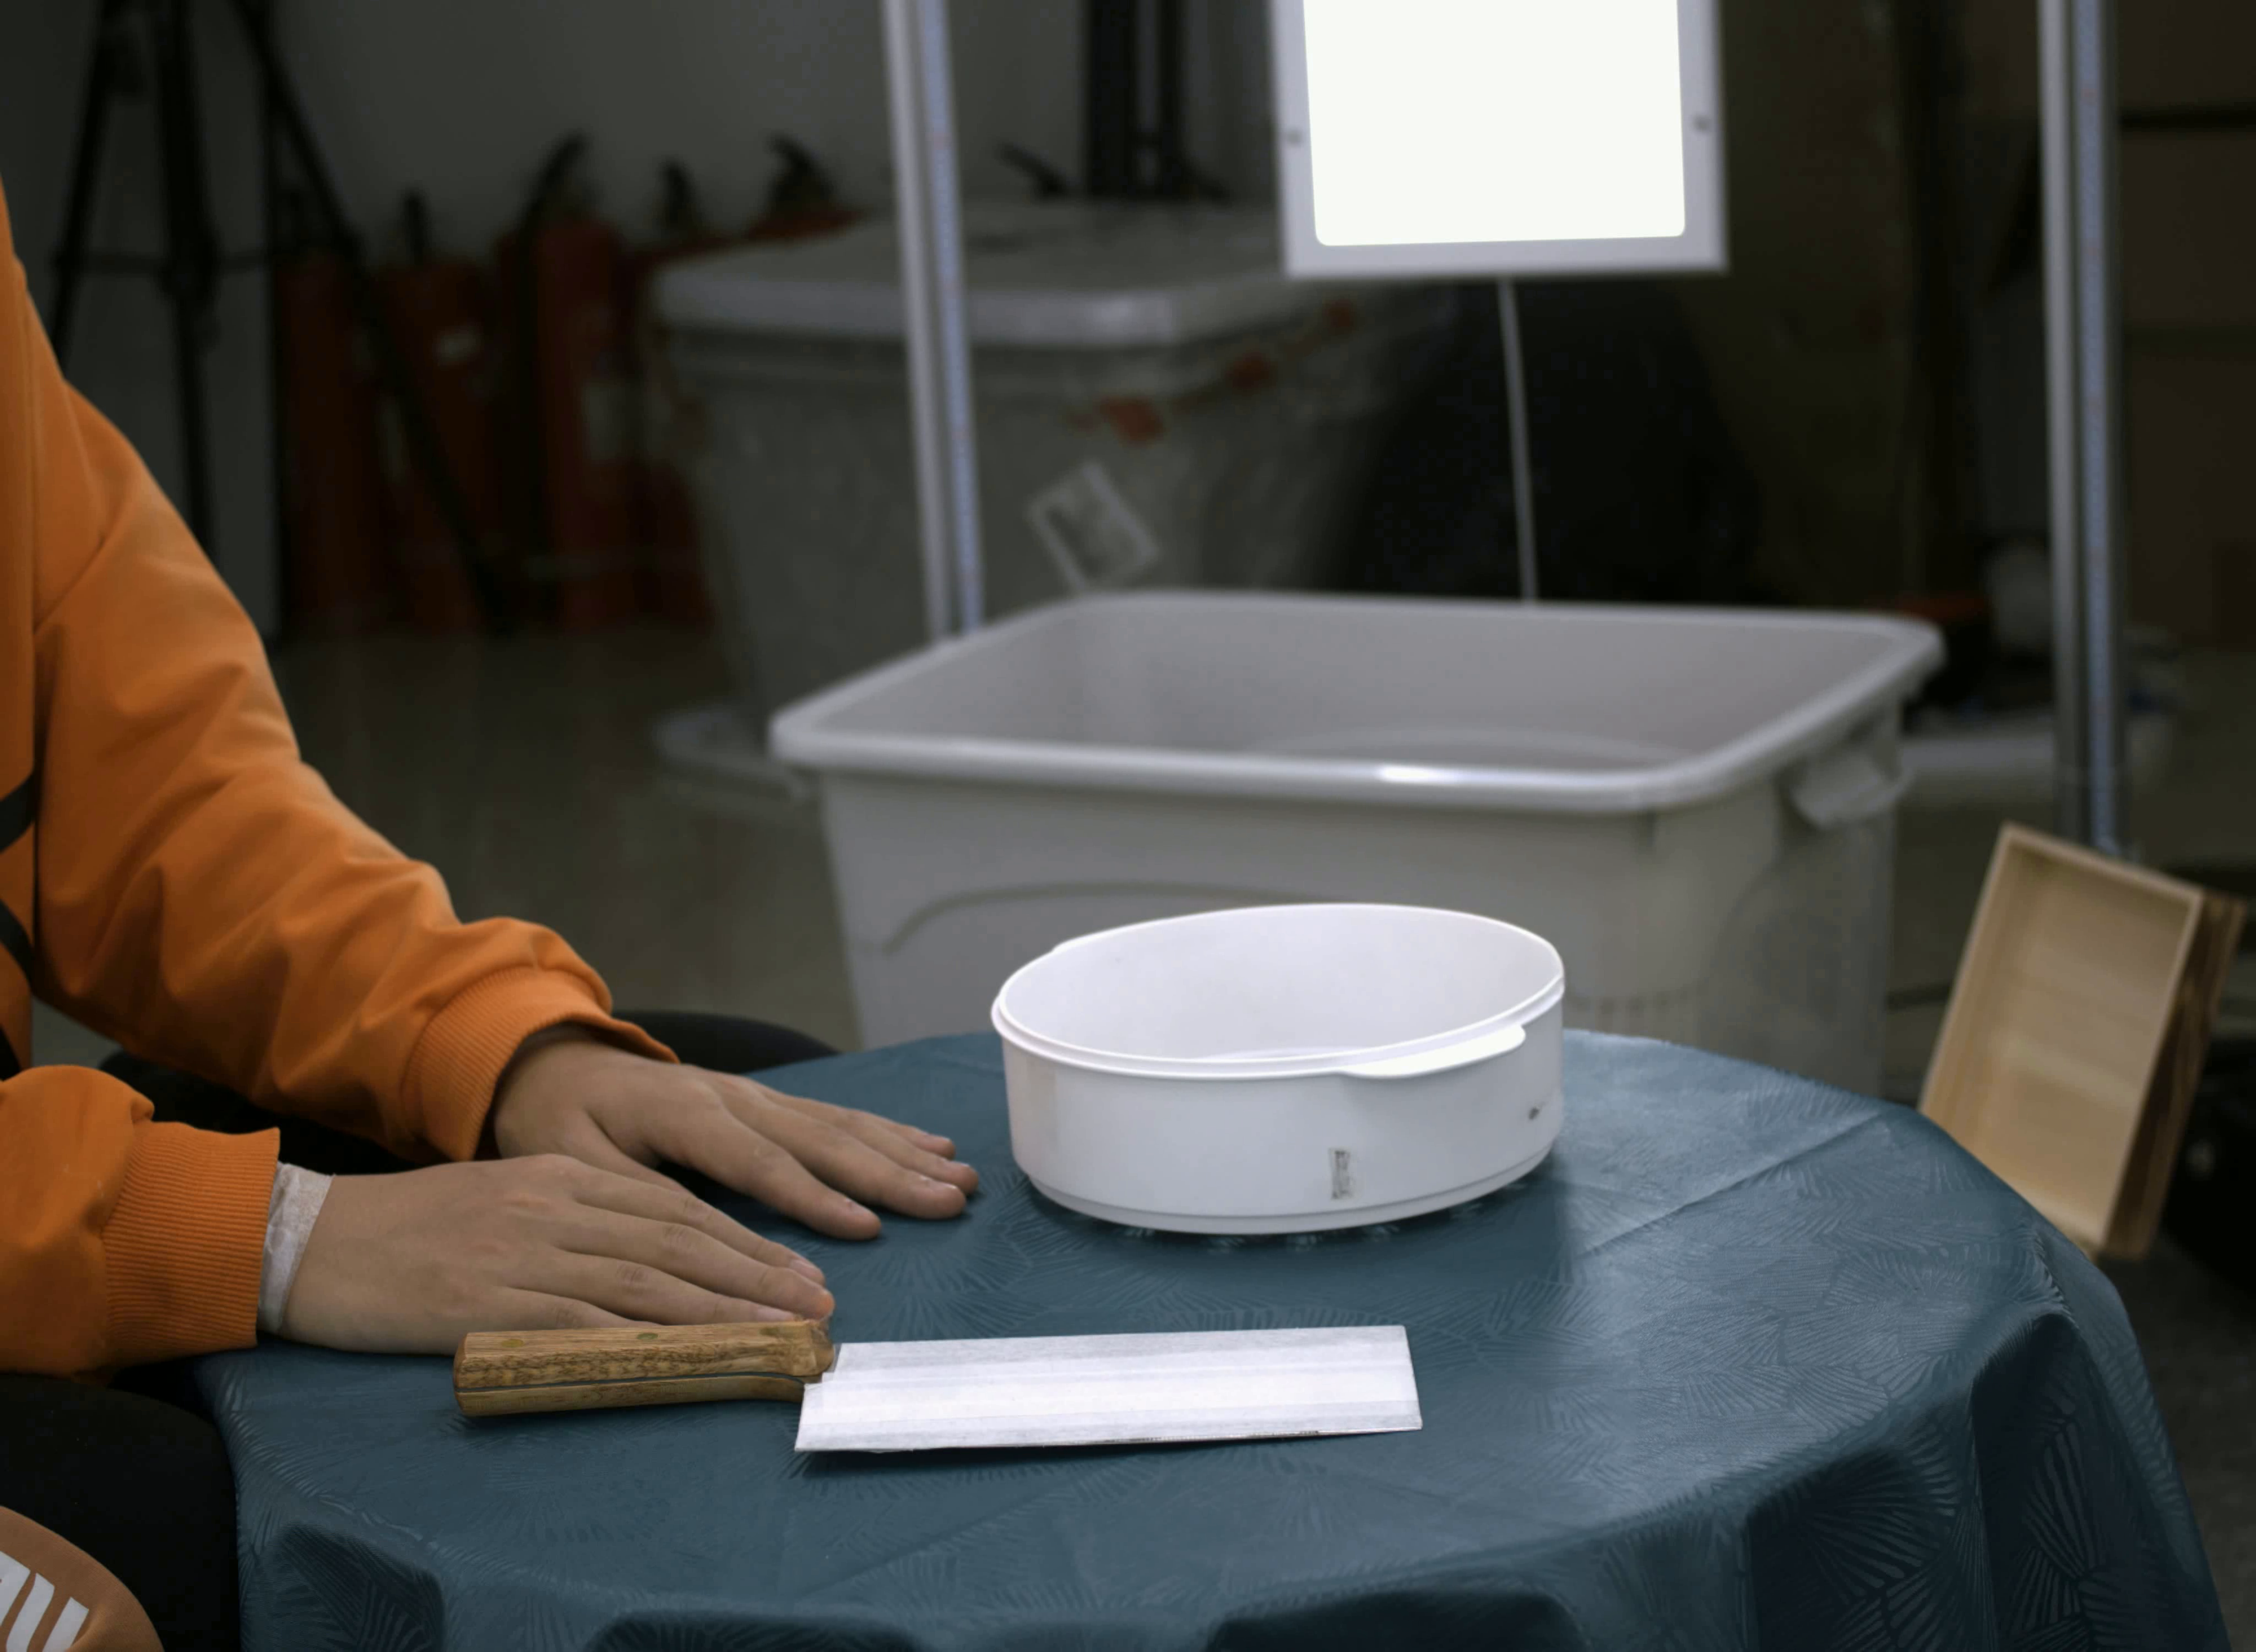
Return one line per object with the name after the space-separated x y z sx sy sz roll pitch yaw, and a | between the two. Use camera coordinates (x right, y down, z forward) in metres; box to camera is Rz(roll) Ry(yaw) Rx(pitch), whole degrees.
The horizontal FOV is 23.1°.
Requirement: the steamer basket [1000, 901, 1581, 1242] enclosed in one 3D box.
0.058 0.085 1.901 0.197 0.069 0.235 -13 18 -27 | steamer basket

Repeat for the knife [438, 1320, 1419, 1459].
-0.063 0.174 1.696 0.305 0.021 0.092 -2 15 2 | knife
